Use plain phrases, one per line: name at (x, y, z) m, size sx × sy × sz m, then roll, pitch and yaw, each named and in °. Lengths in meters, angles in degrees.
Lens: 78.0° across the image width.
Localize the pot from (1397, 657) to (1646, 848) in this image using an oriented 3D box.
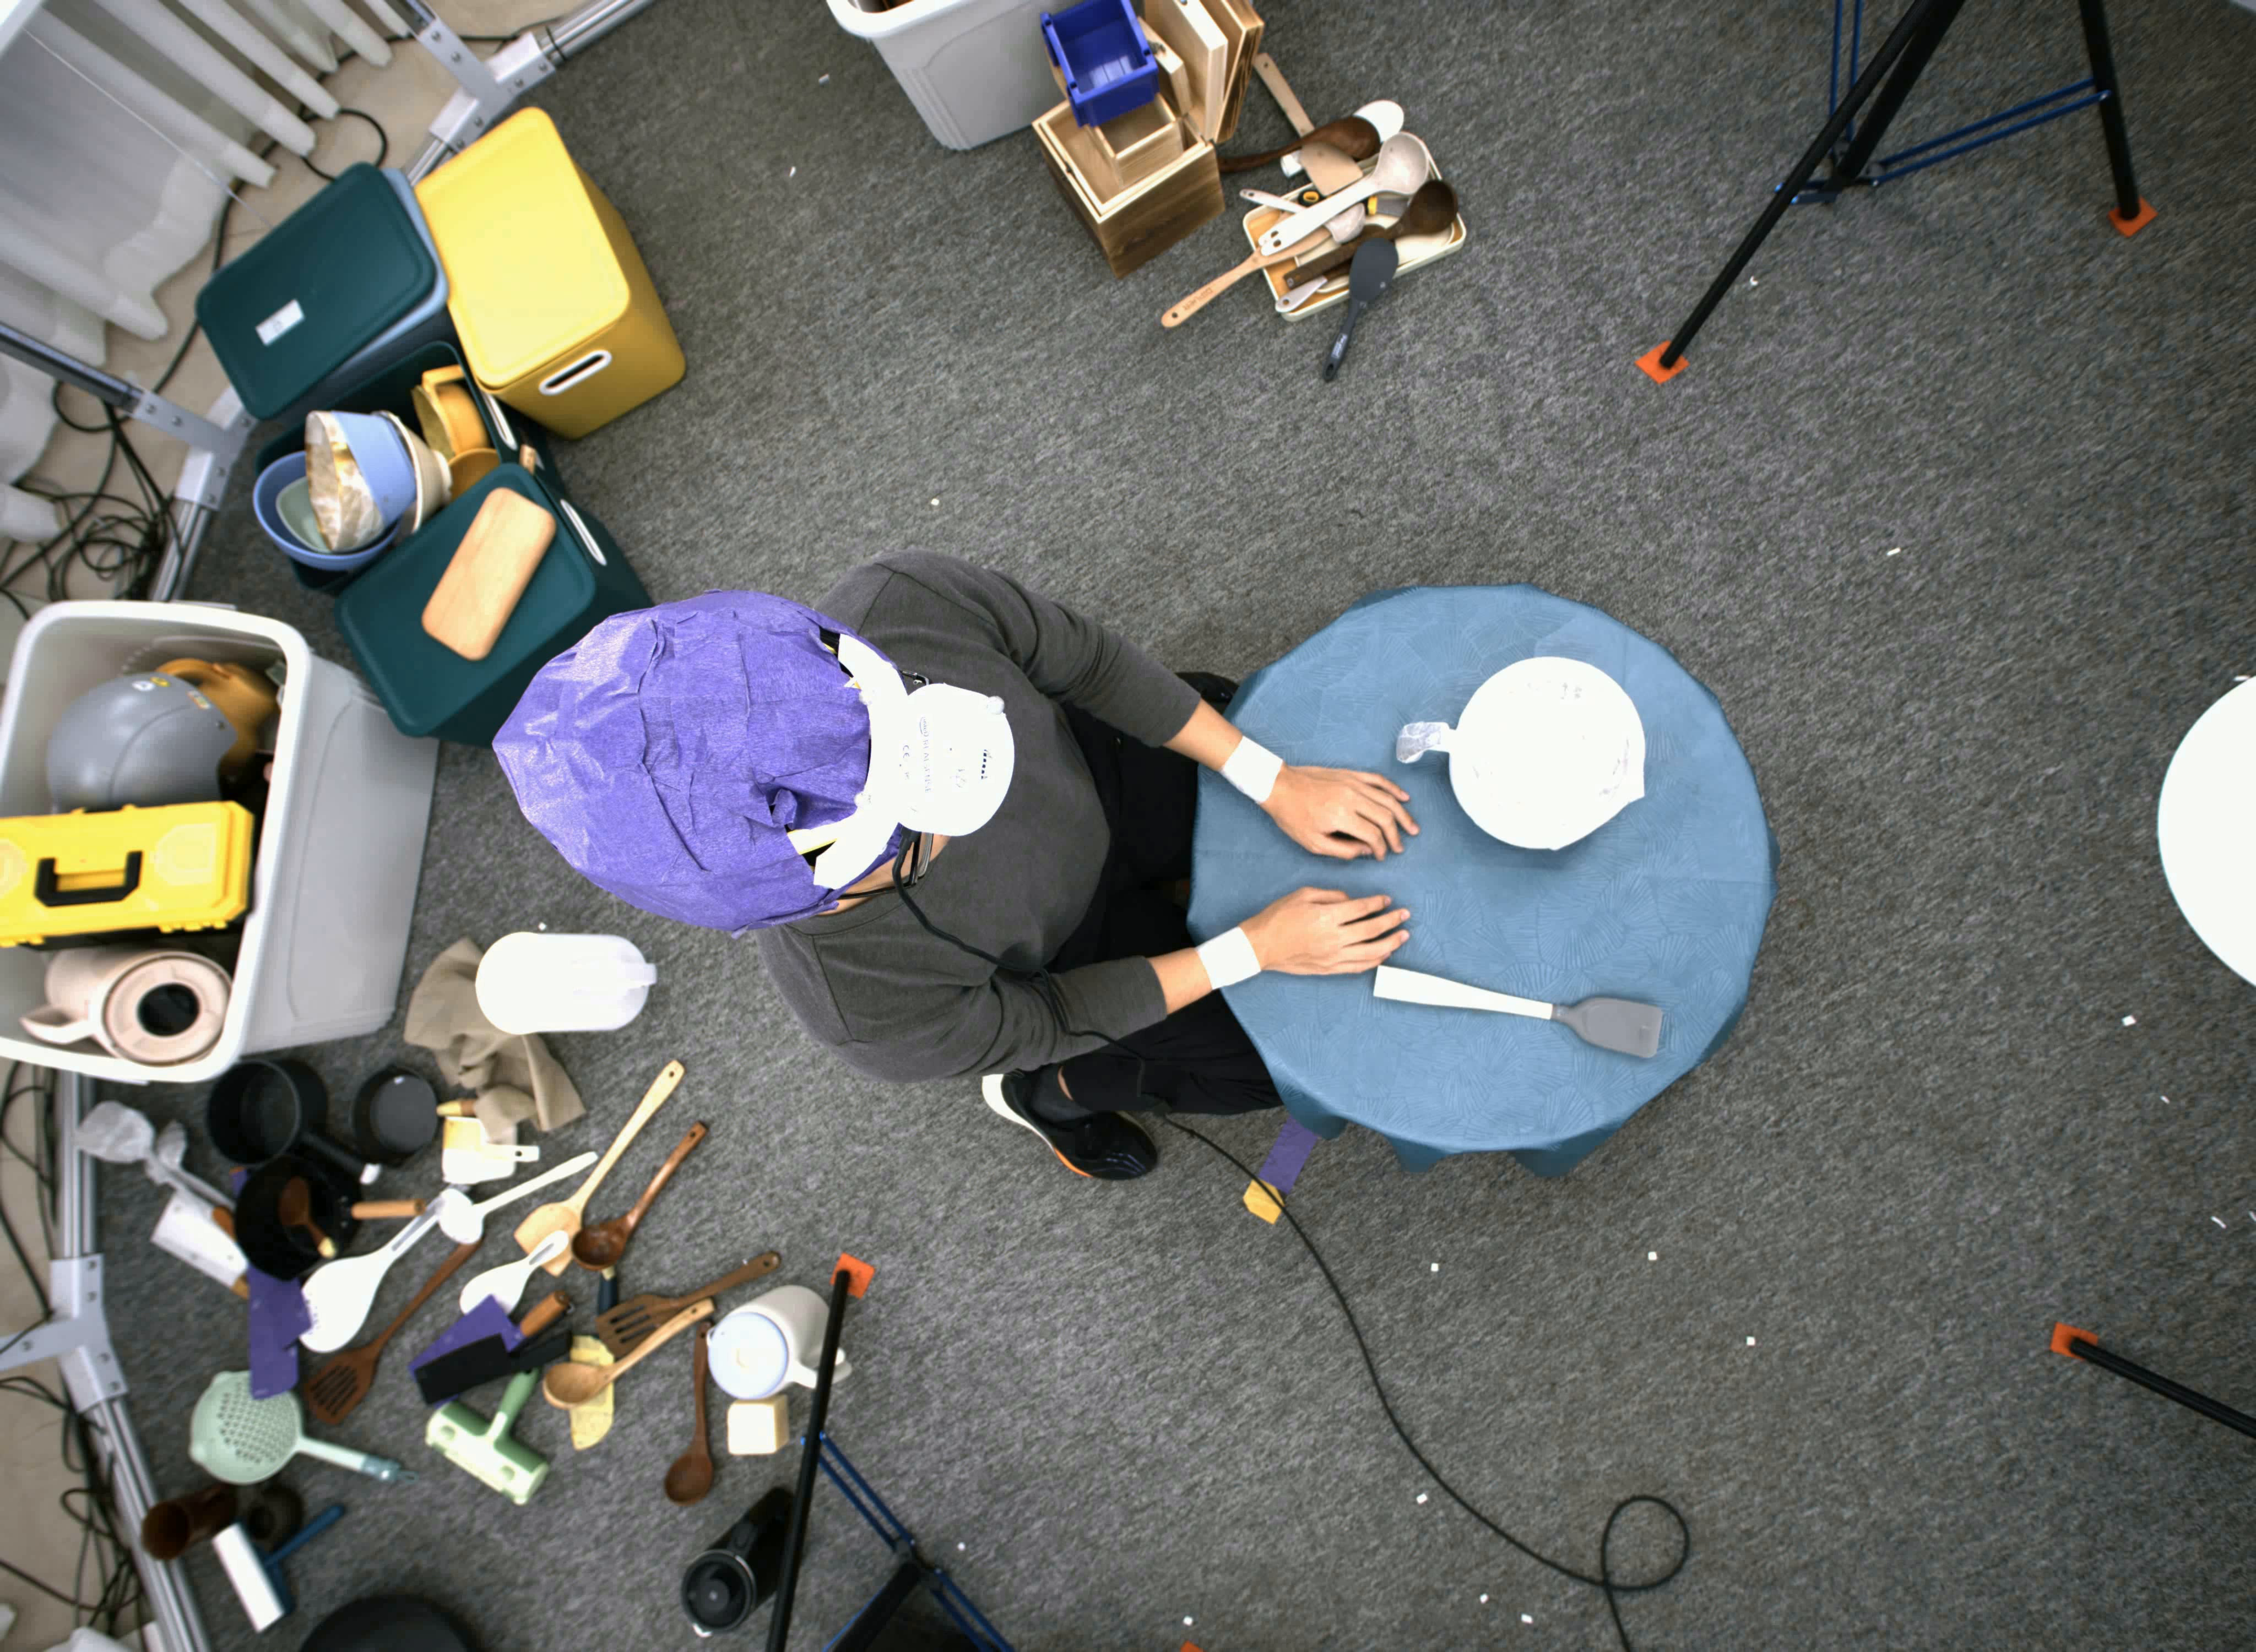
pot at (0.388, -0.074, 1.376) m, size 0.234 × 0.137 × 0.178 m, roll 8°, pitch 87°, yaw 11°

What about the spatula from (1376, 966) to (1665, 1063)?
spatula at (0.400, 0.184, 1.413) m, size 0.288 × 0.032 × 0.058 m, roll 10°, pitch 85°, yaw 12°
